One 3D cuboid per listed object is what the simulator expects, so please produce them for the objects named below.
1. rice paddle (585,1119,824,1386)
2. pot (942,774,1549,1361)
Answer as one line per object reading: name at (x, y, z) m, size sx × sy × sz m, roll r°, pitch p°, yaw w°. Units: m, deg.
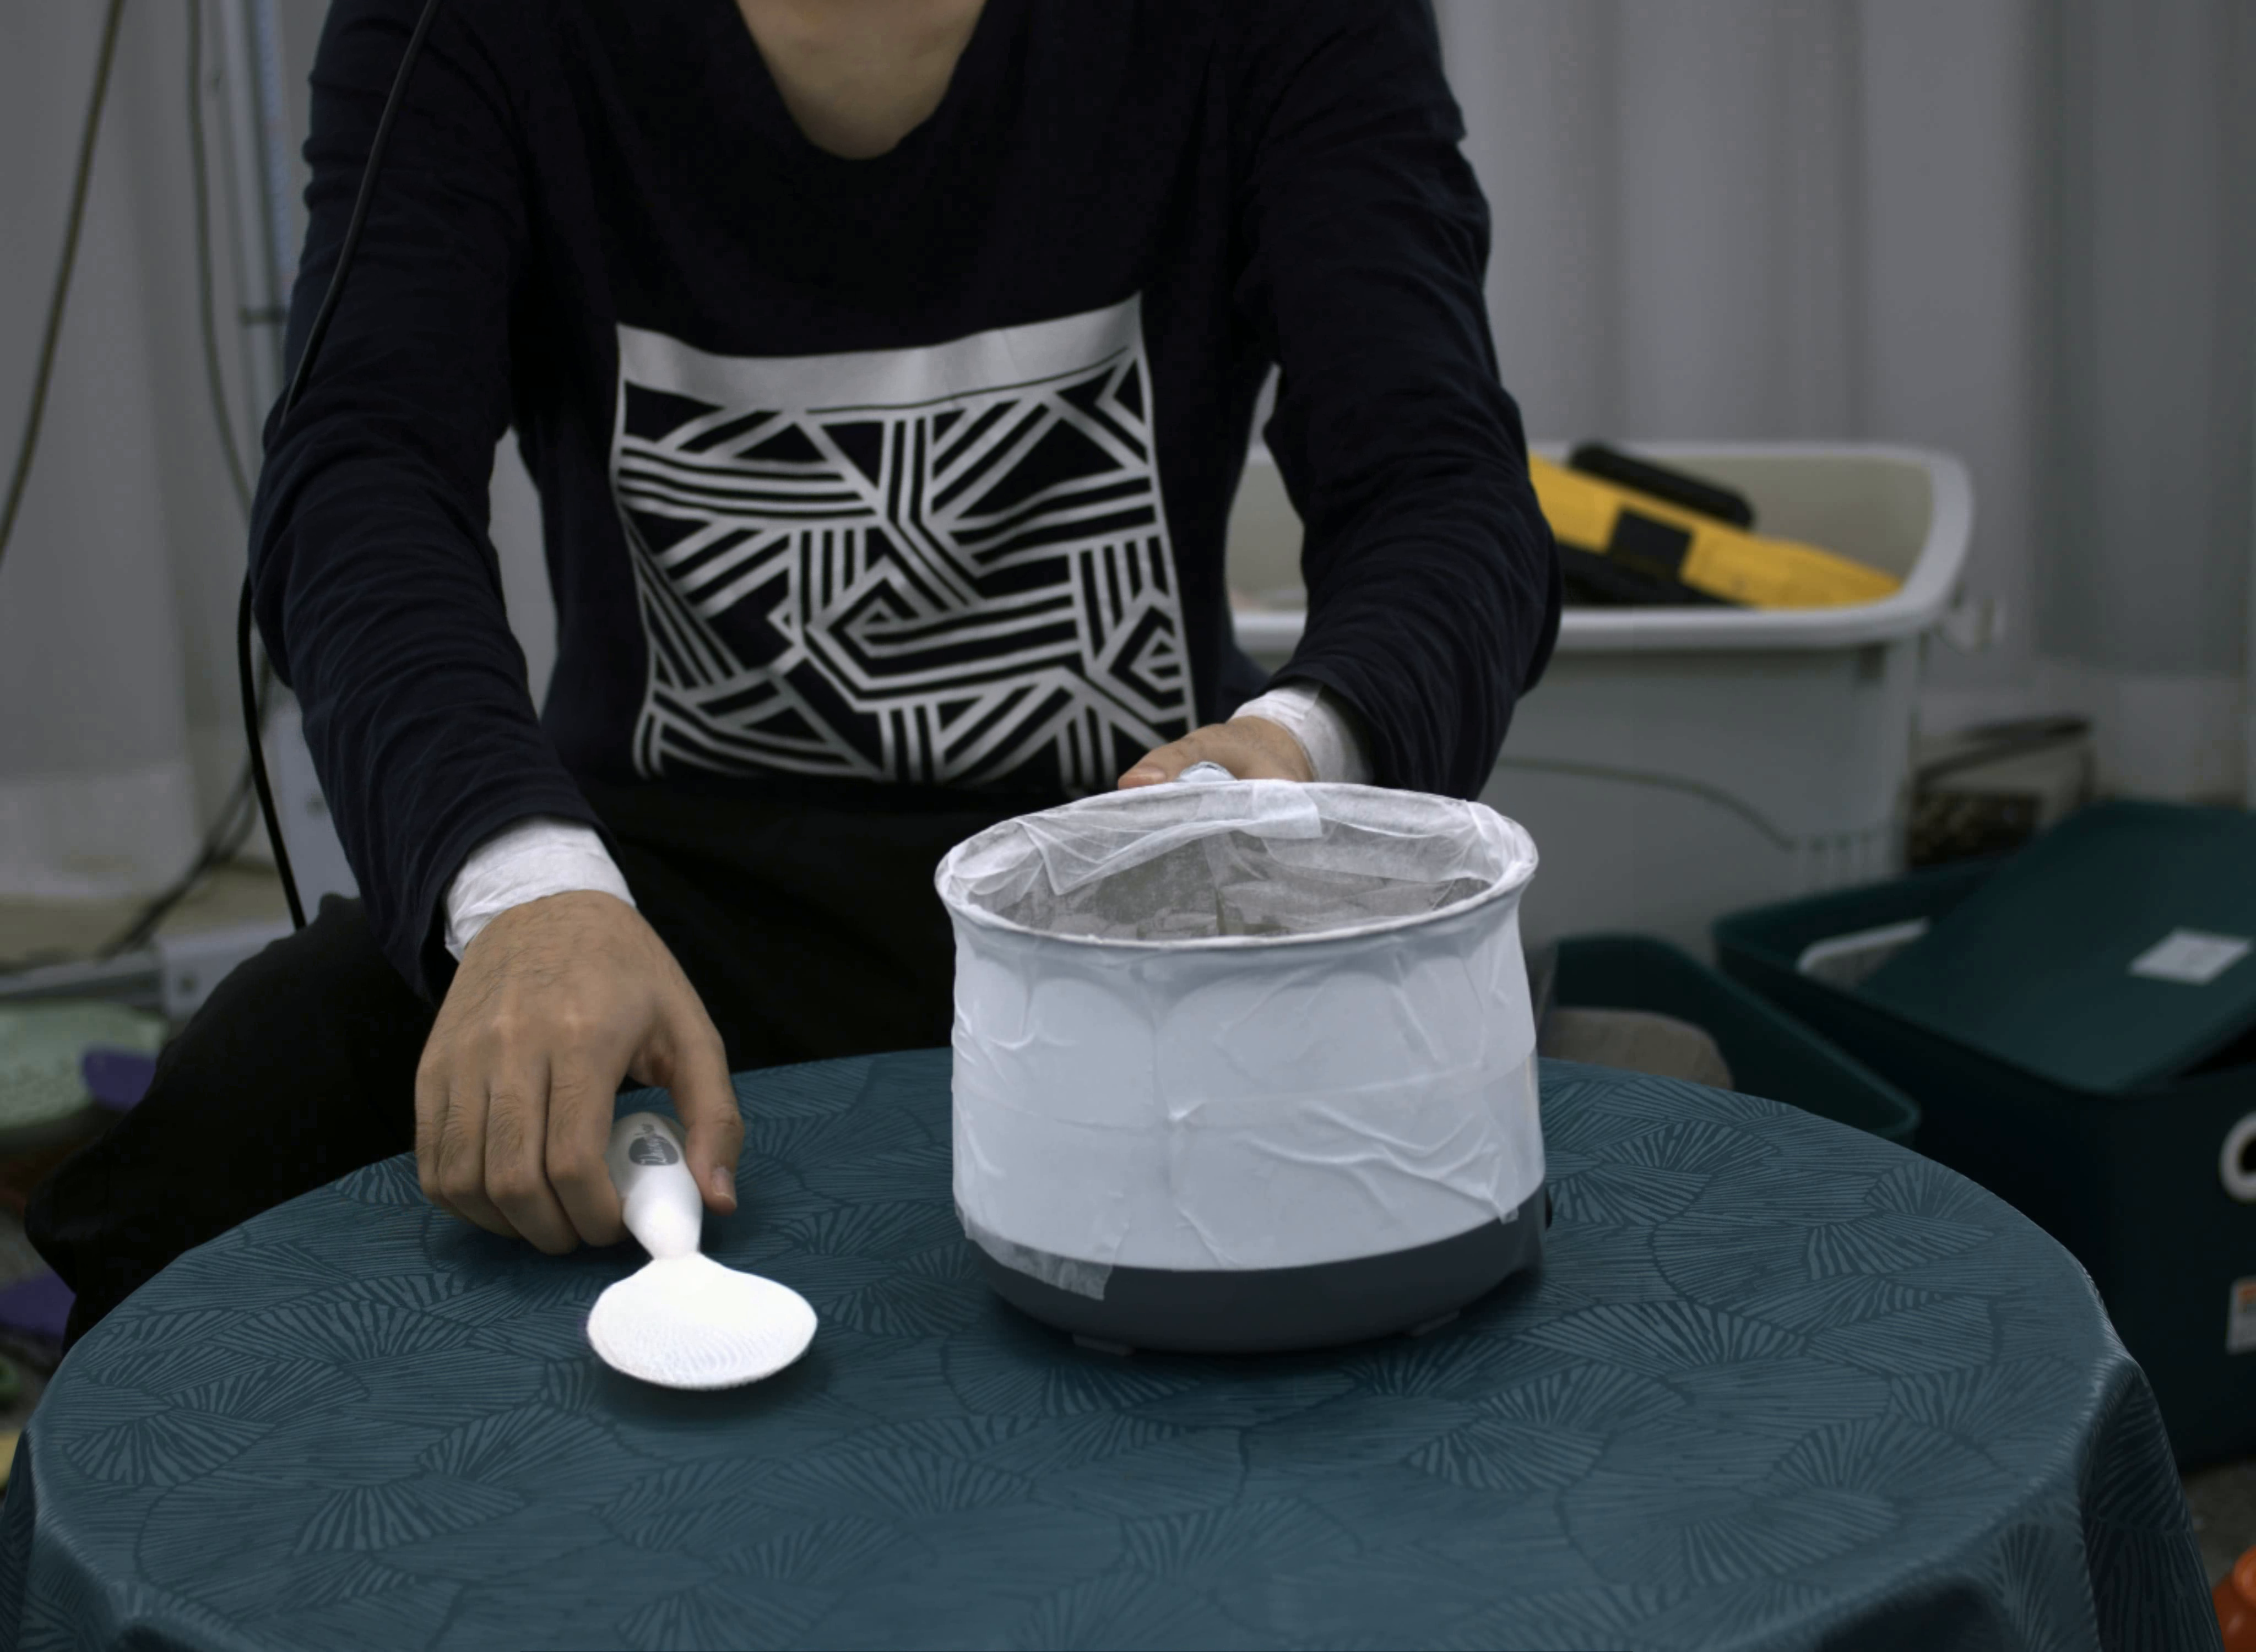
rice paddle at (-0.134, 0.130, 1.632) m, size 0.068 × 0.029 × 0.207 m, roll -6°, pitch 14°, yaw -10°
pot at (0.033, 0.067, 1.640) m, size 0.178 × 0.136 × 0.235 m, roll -2°, pitch 13°, yaw -5°
